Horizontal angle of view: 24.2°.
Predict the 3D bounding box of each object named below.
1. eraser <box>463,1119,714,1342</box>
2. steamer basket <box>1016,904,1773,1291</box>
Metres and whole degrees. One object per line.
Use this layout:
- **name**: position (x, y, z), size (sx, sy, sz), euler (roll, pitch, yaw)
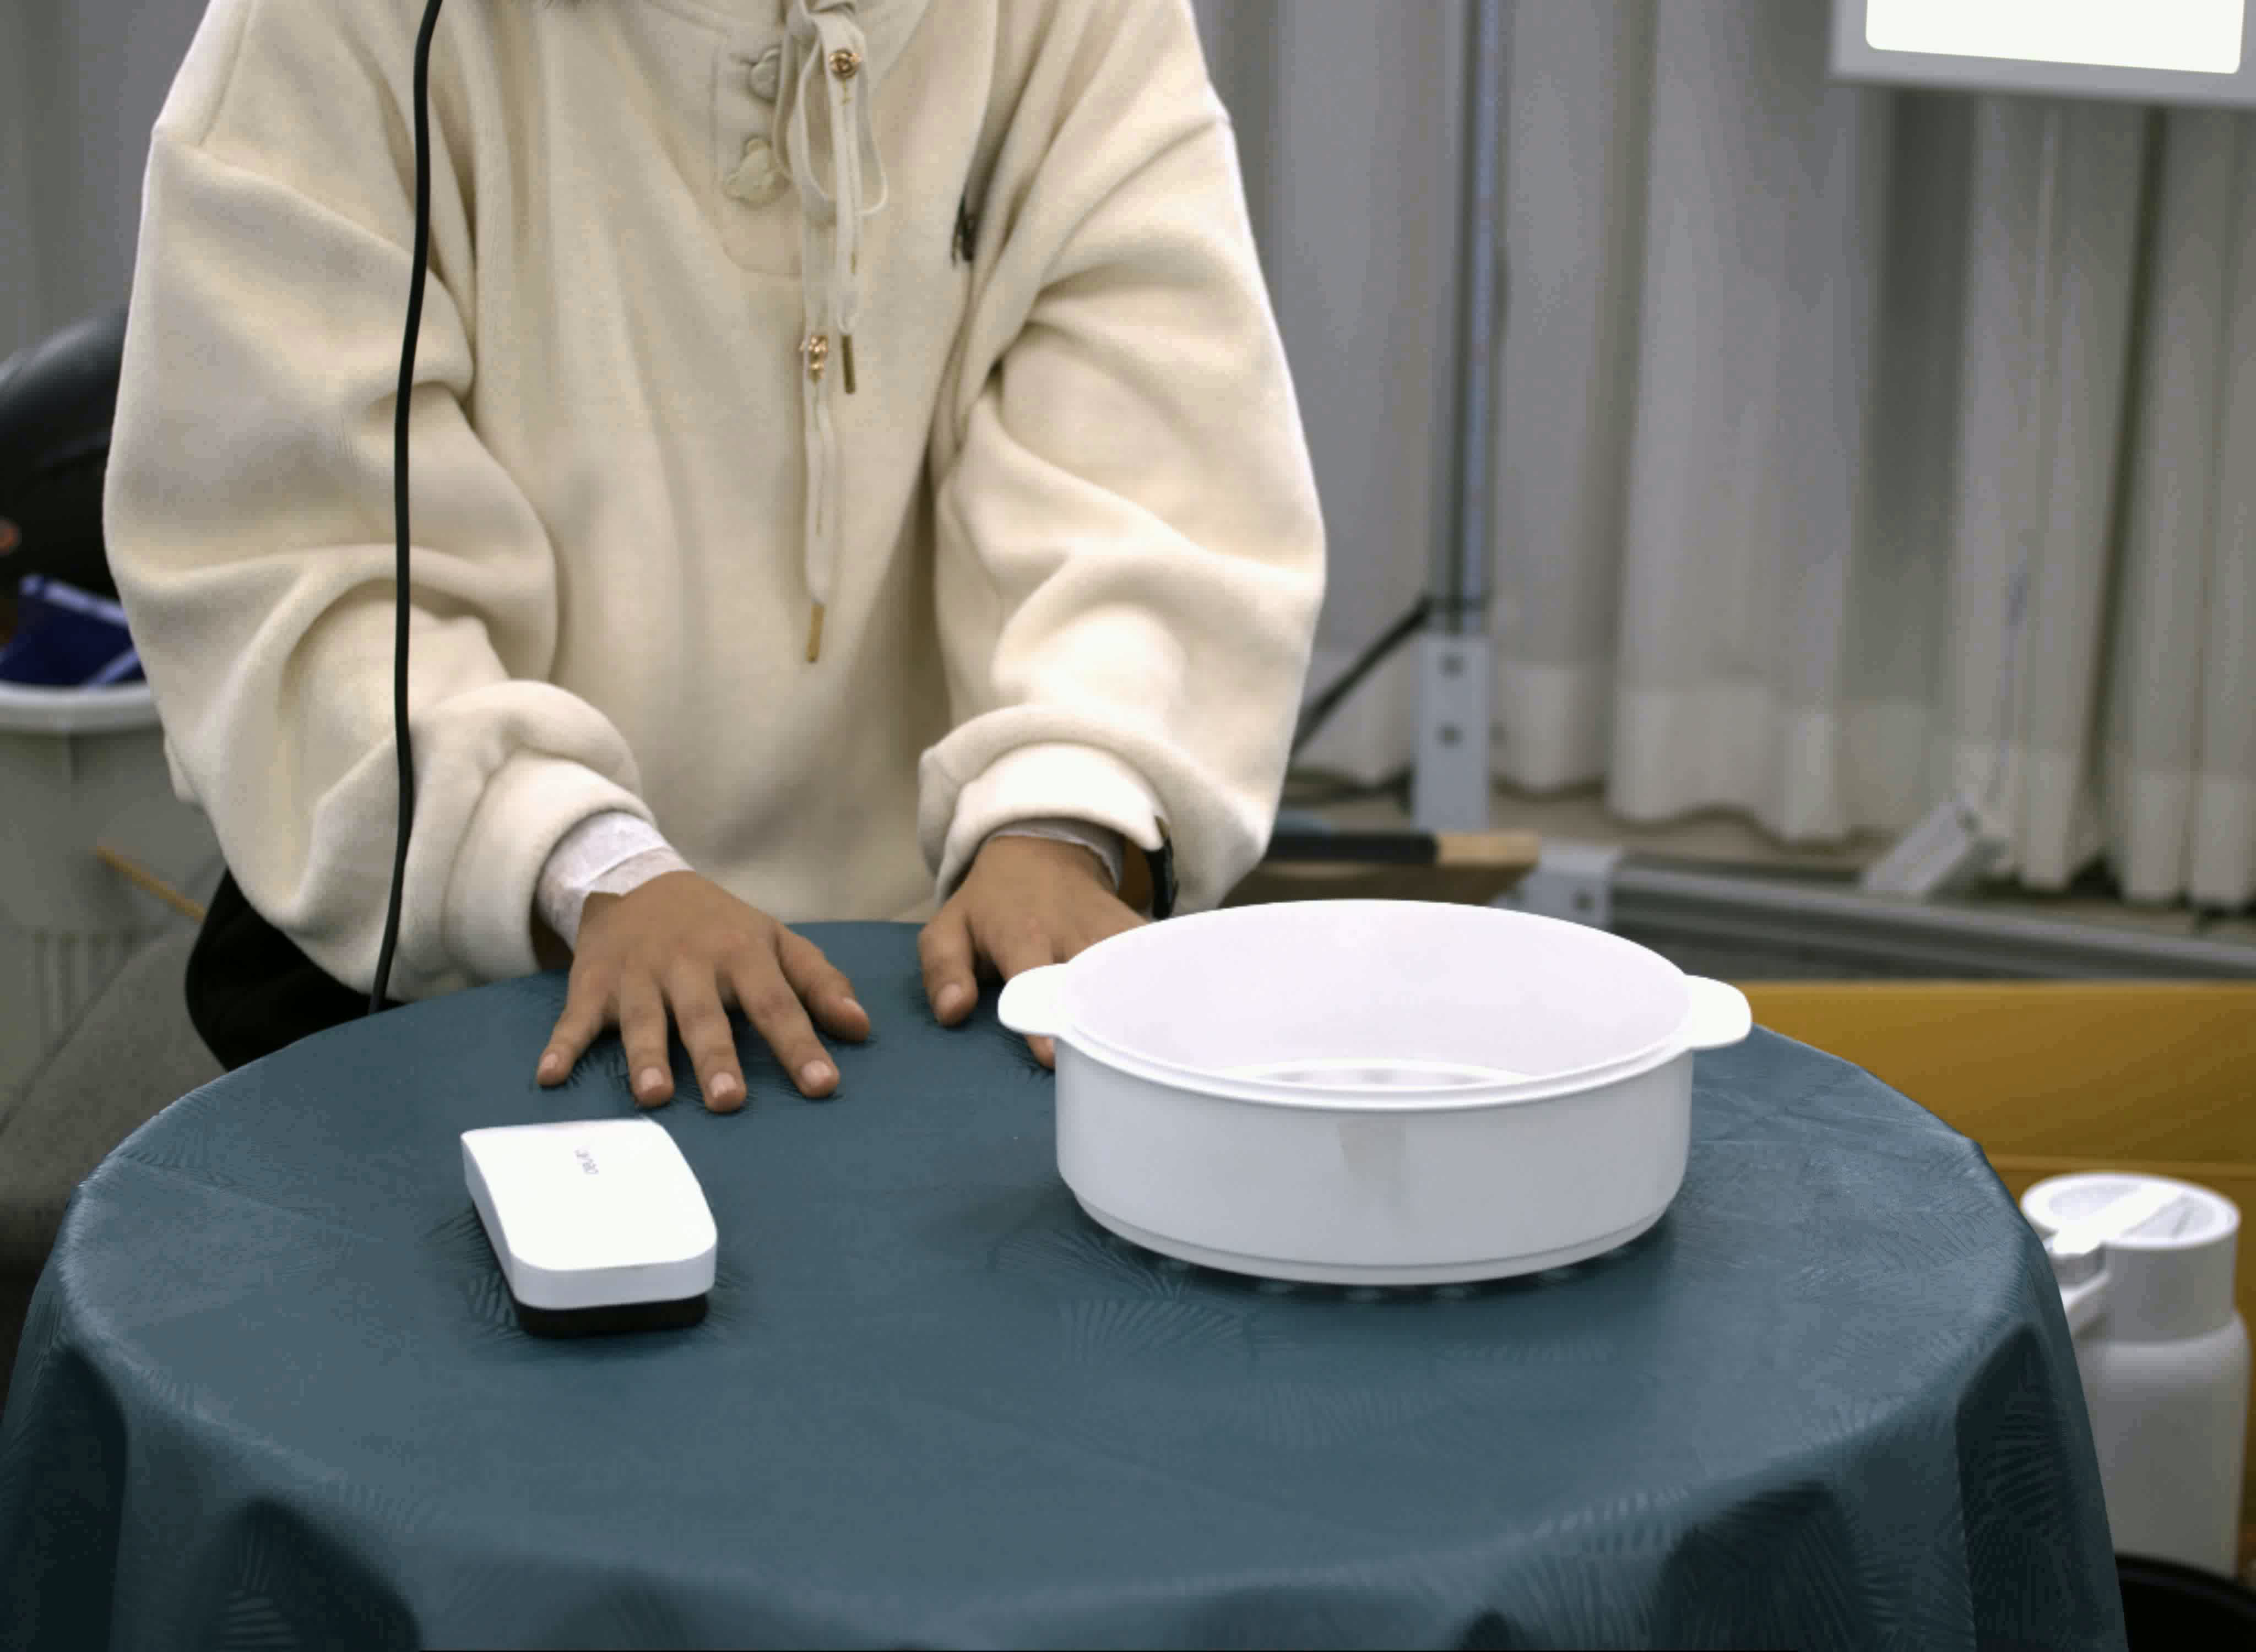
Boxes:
- **eraser**: position (-0.159, 0.114, 1.551), size (0.063, 0.035, 0.130), euler (-4, 17, -13)
- **steamer basket**: position (0.080, 0.082, 1.608), size (0.229, 0.070, 0.201), euler (2, 15, 2)
